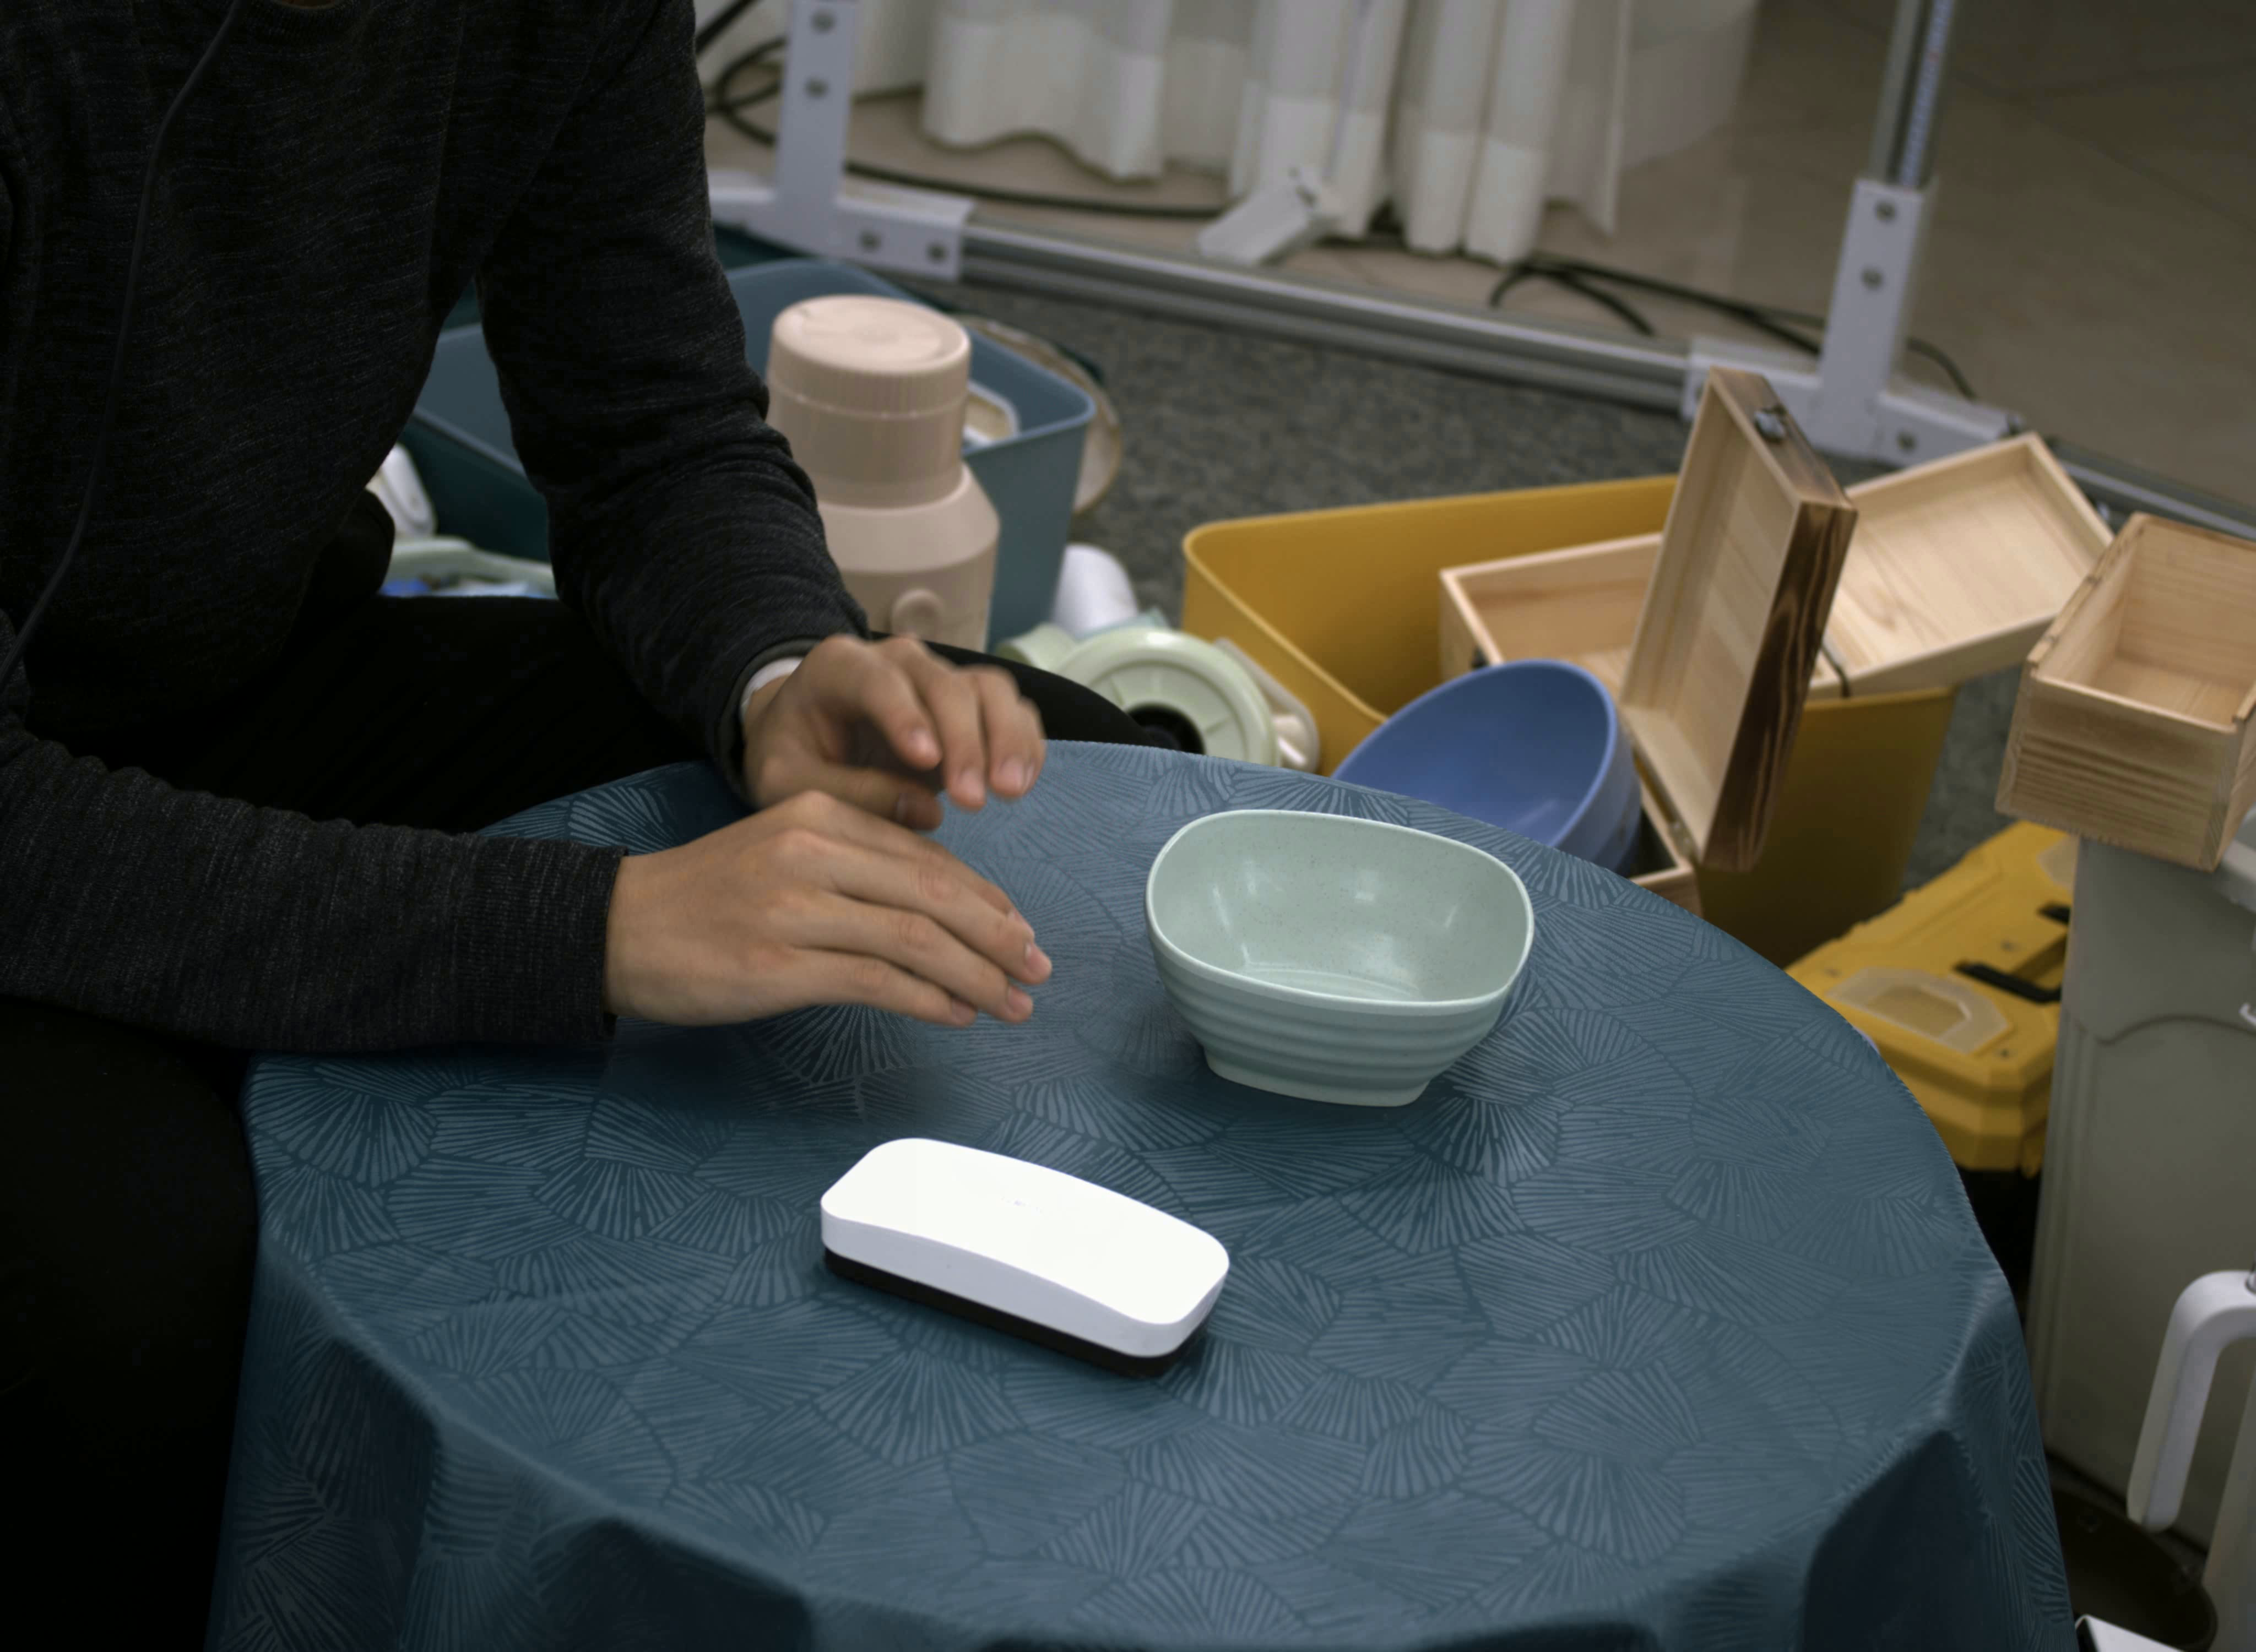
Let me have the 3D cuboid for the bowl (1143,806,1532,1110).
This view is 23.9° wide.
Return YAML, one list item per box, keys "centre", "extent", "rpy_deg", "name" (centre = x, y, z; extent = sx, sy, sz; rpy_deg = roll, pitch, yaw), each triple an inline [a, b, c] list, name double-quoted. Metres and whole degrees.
- centre: [0.071, 0.053, 1.895]
  extent: [0.151, 0.058, 0.152]
  rpy_deg: [7, 27, -4]
  name: "bowl"

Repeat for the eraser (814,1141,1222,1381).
- centre: [-0.036, 0.138, 1.732]
  extent: [0.132, 0.034, 0.063]
  rpy_deg: [19, 27, 20]
  name: "eraser"
